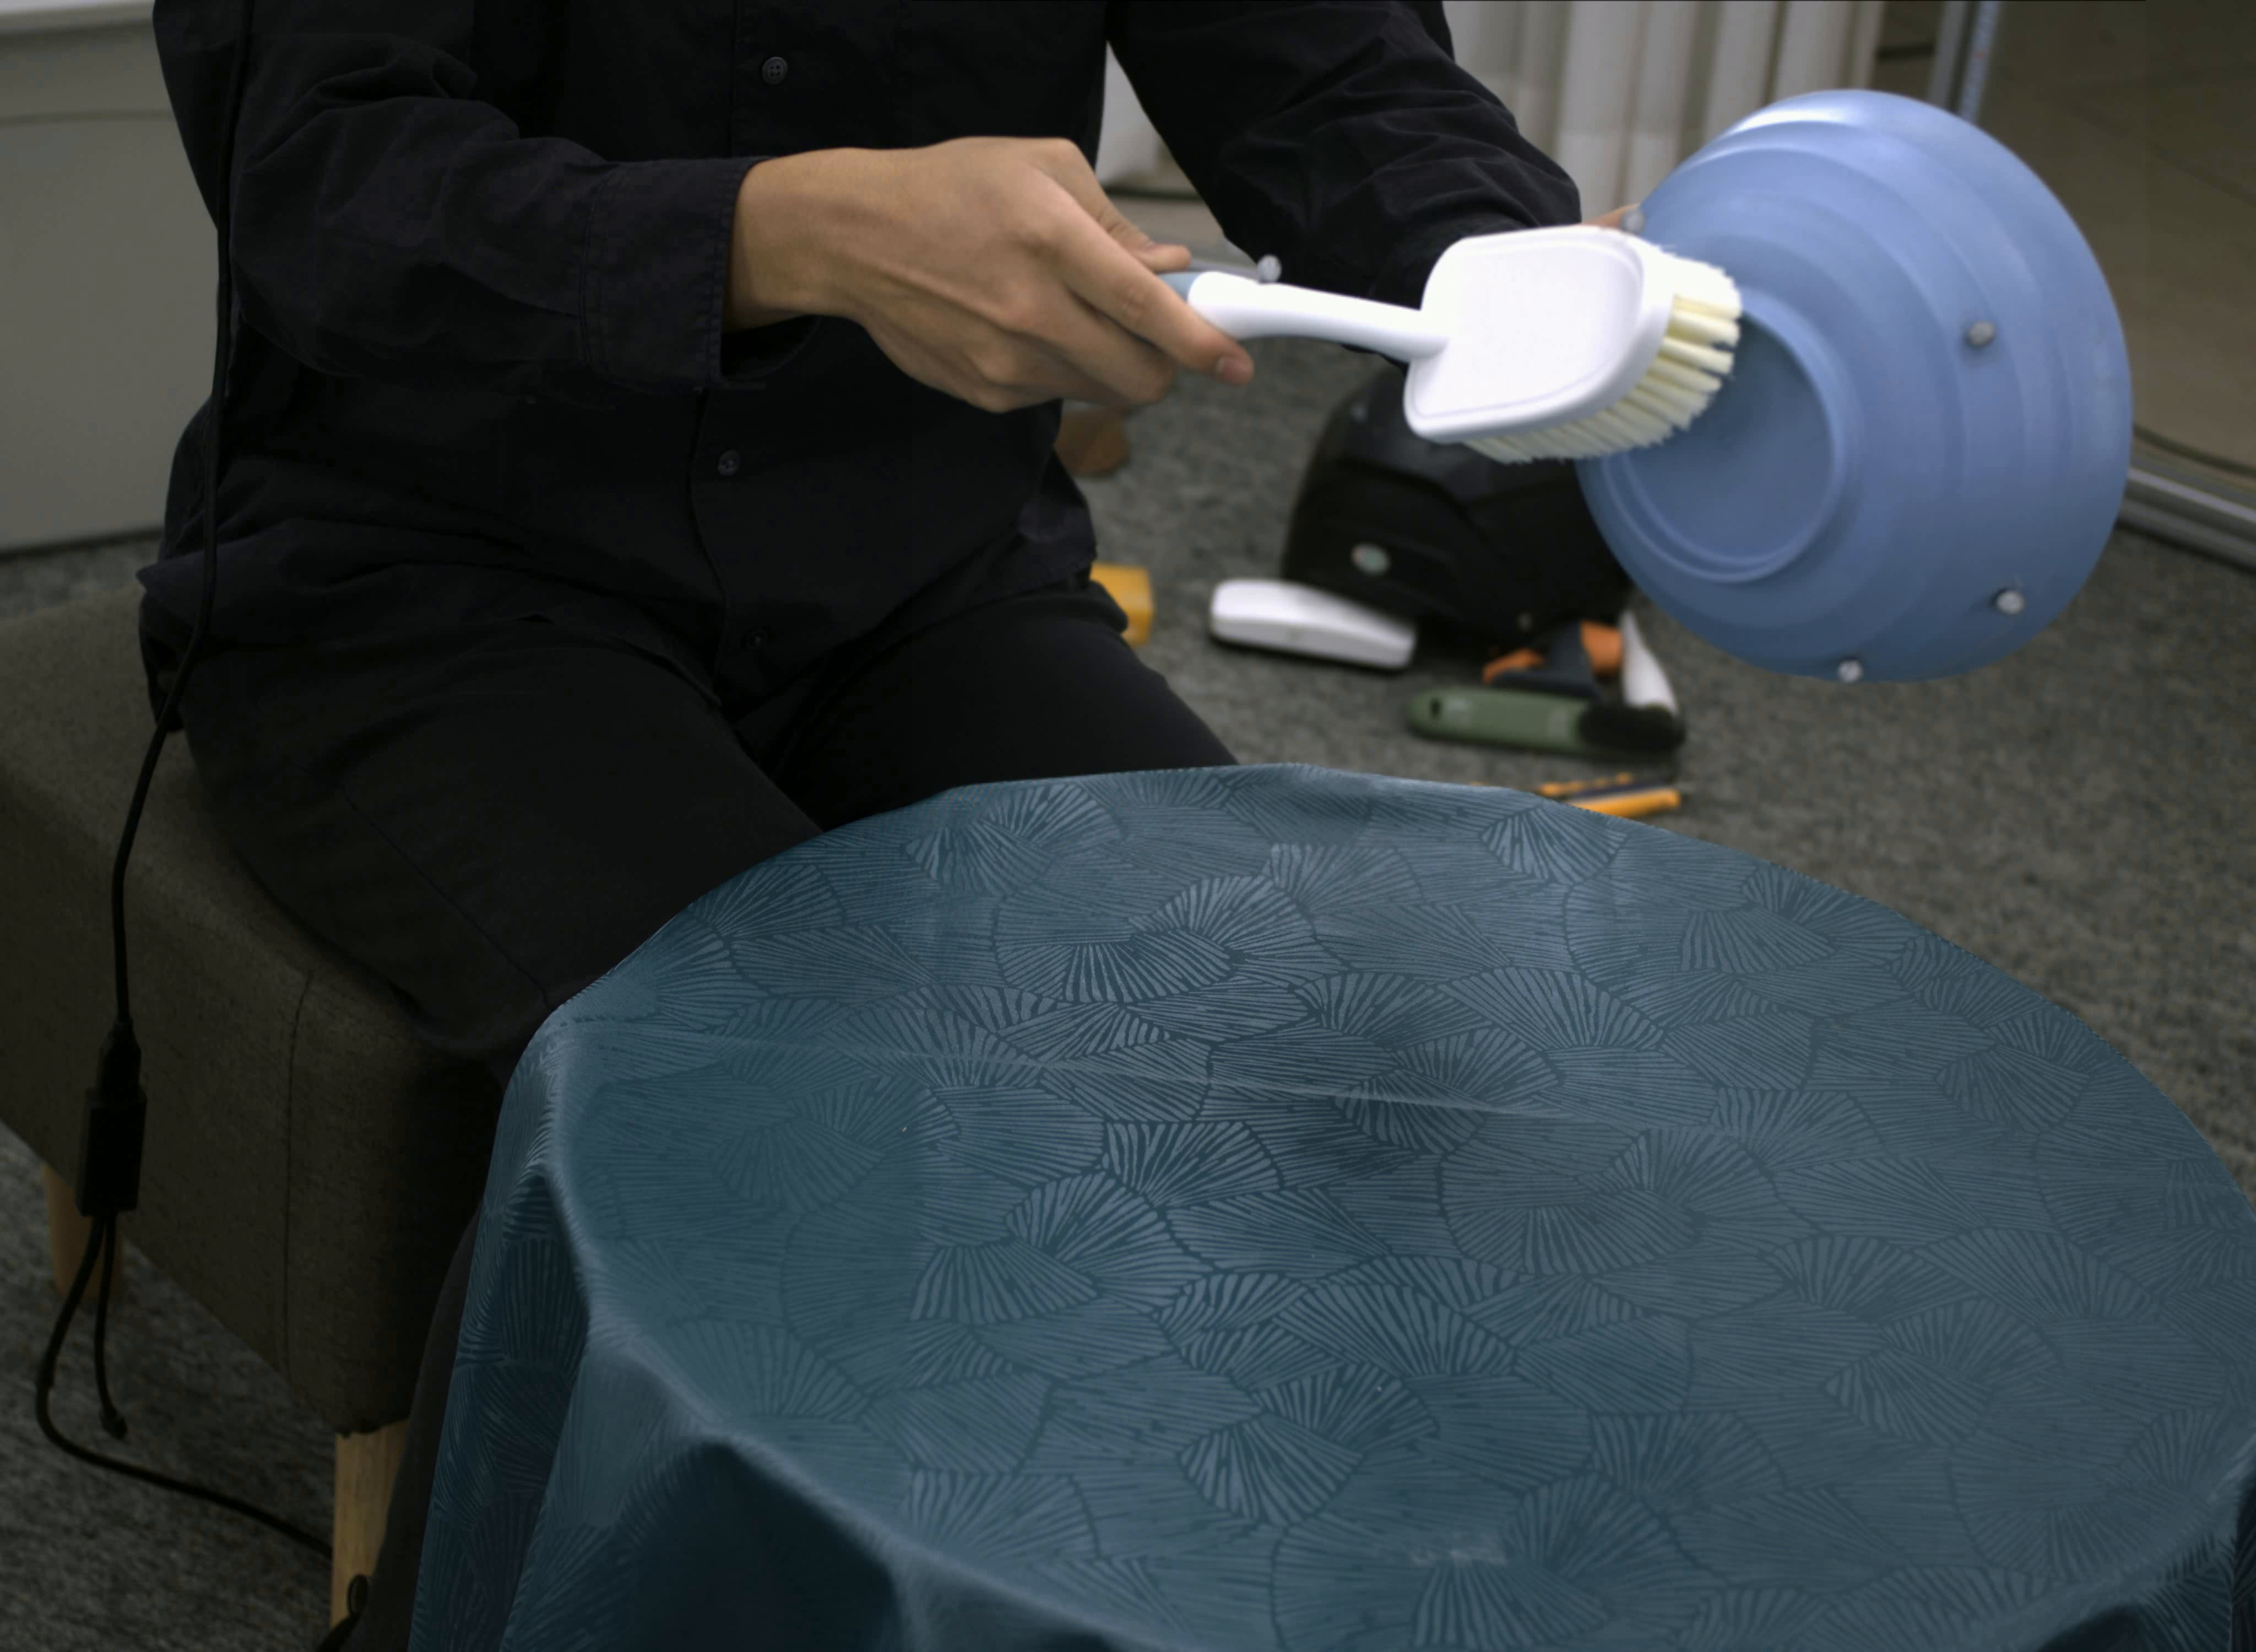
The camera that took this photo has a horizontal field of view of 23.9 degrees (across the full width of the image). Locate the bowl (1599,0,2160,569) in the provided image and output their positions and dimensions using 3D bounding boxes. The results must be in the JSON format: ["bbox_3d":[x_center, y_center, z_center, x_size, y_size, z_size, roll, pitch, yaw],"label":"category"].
[{"bbox_3d":[0.226,-0.171,1.732,0.198,0.196,0.095,26,30,33],"label":"bowl"}]

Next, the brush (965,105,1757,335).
[{"bbox_3d":[0.082,-0.204,1.781,0.327,0.084,0.083,4,43,44],"label":"brush"}]
